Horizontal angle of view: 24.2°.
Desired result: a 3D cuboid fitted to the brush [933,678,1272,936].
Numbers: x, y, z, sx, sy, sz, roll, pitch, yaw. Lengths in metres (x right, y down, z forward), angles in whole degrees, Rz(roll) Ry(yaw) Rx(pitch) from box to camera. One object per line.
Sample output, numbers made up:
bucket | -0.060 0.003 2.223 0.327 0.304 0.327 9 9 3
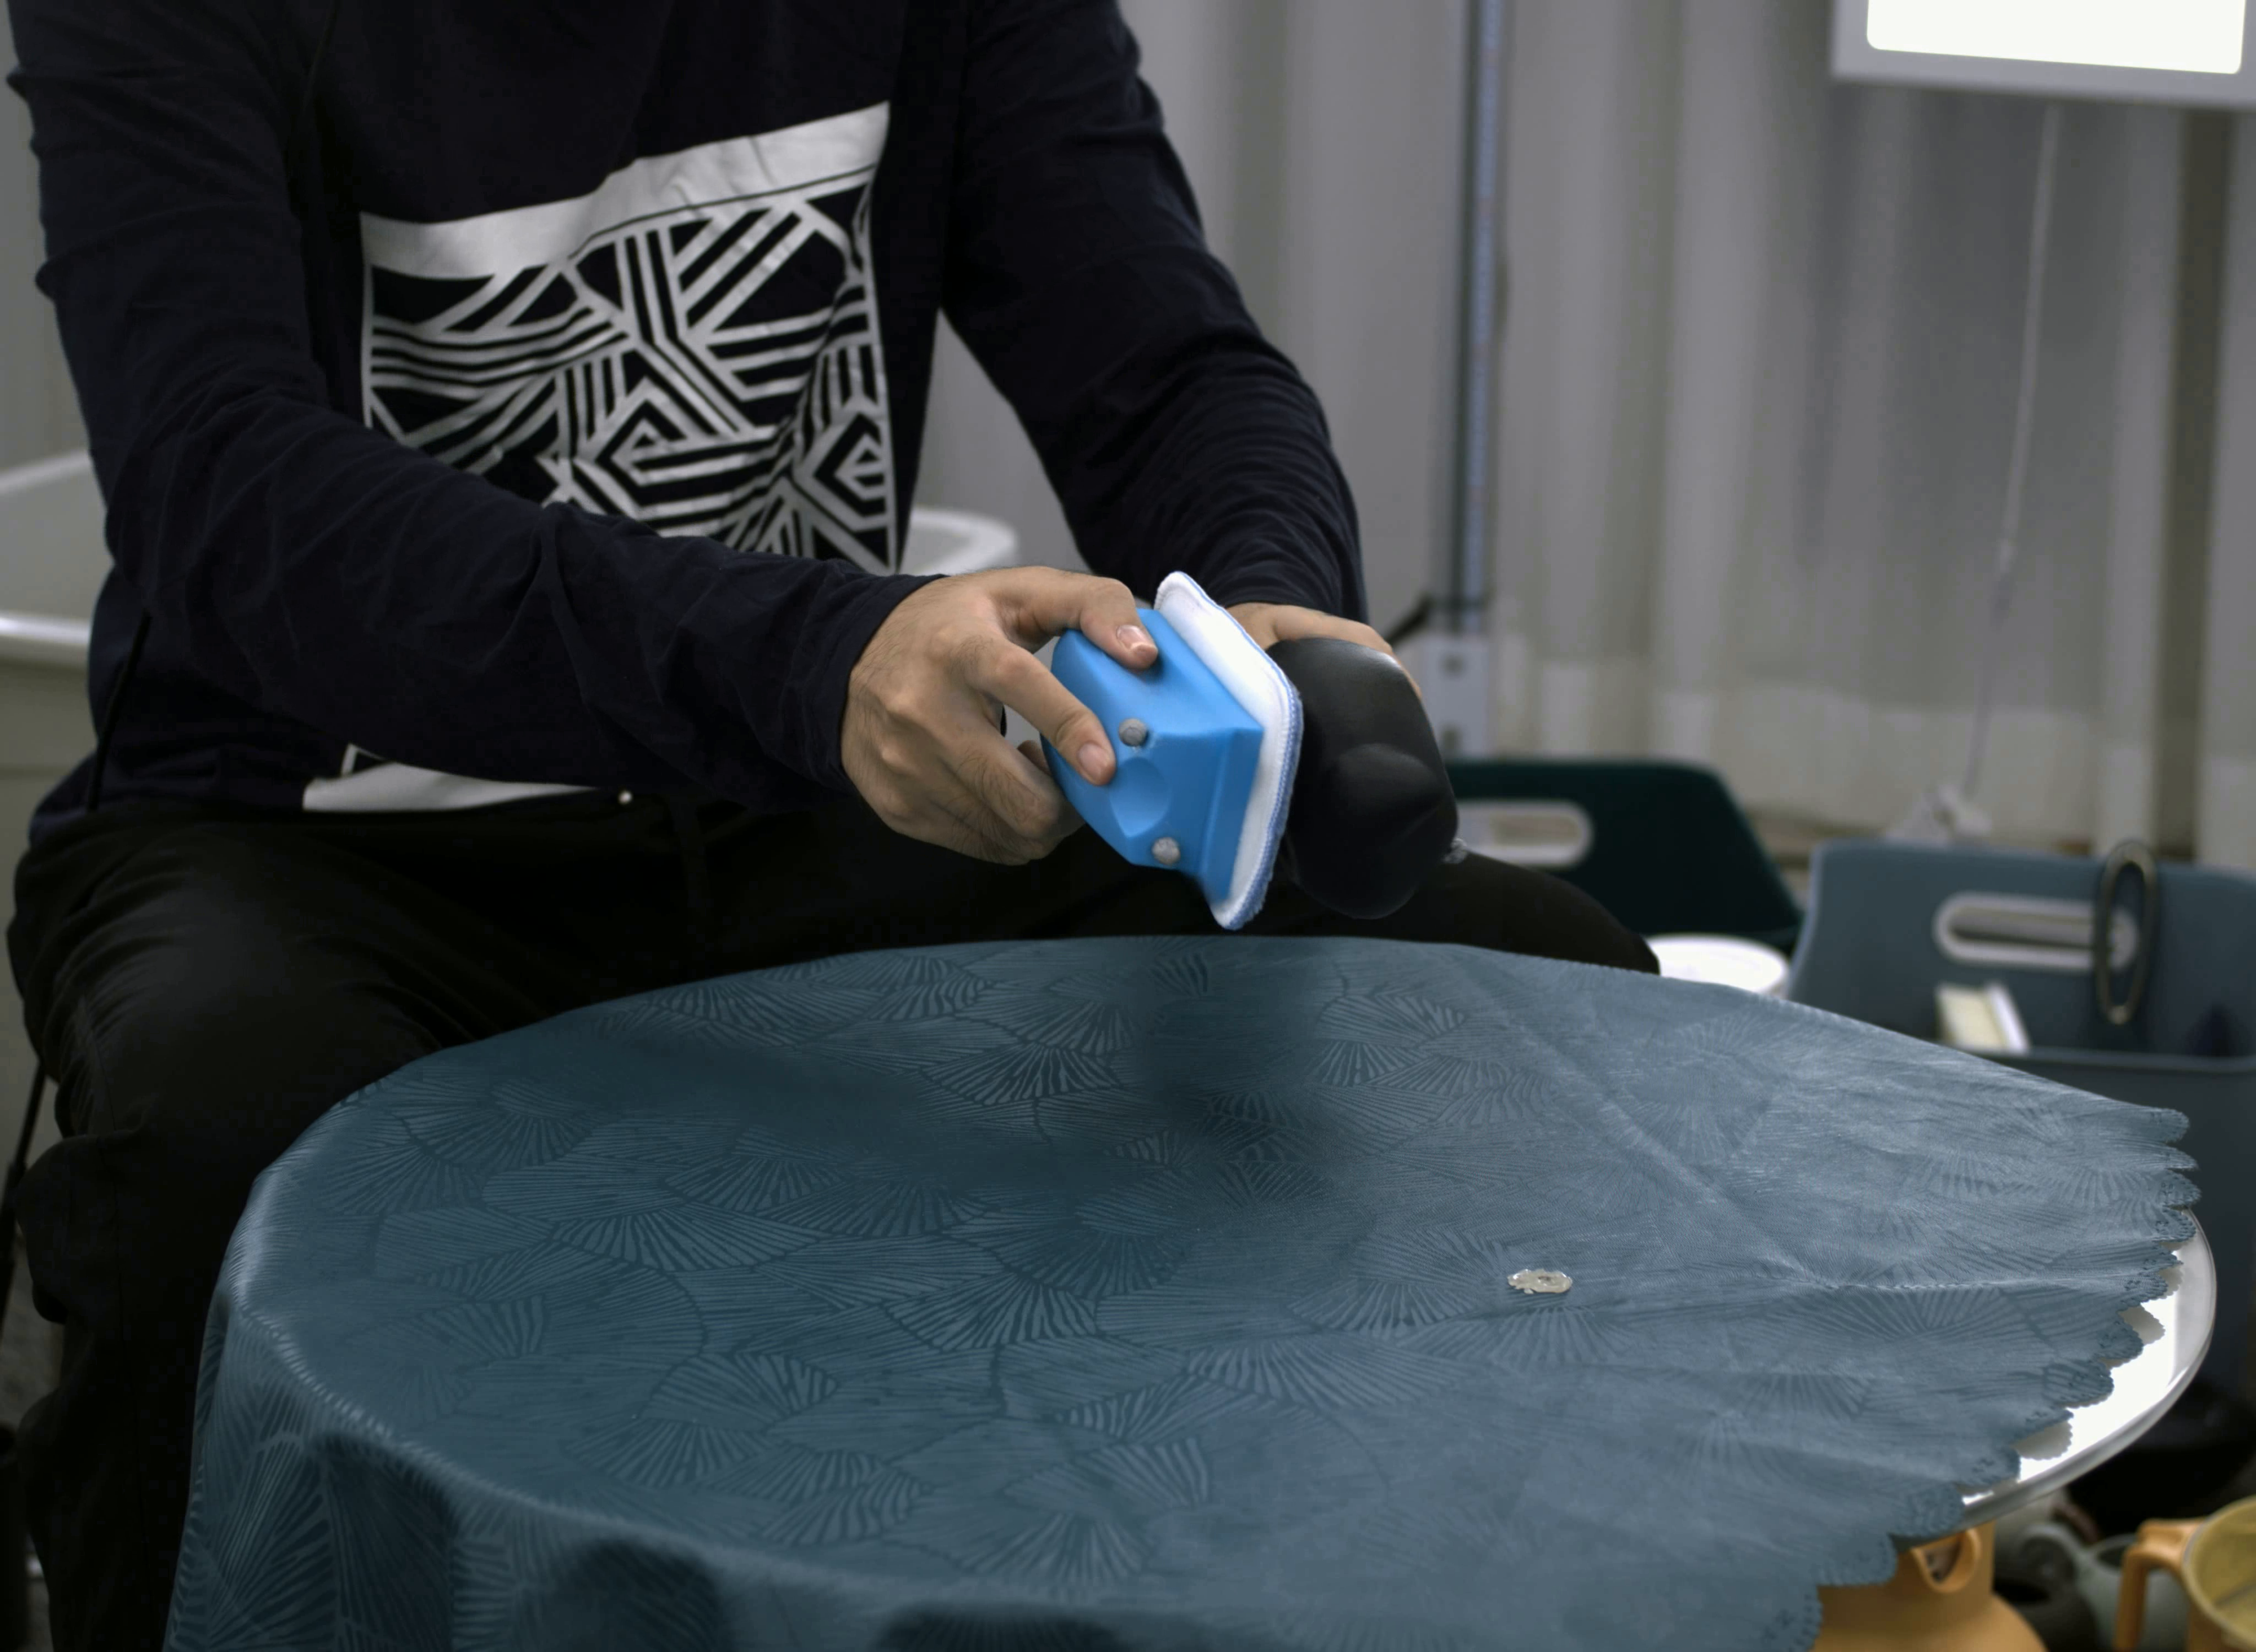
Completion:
brush | -0.014 -0.010 1.615 0.056 0.084 0.142 18 -8 -31

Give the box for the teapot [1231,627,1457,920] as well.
teapot | 0.061 -0.017 1.621 0.053 0.091 0.132 -10 13 -10
